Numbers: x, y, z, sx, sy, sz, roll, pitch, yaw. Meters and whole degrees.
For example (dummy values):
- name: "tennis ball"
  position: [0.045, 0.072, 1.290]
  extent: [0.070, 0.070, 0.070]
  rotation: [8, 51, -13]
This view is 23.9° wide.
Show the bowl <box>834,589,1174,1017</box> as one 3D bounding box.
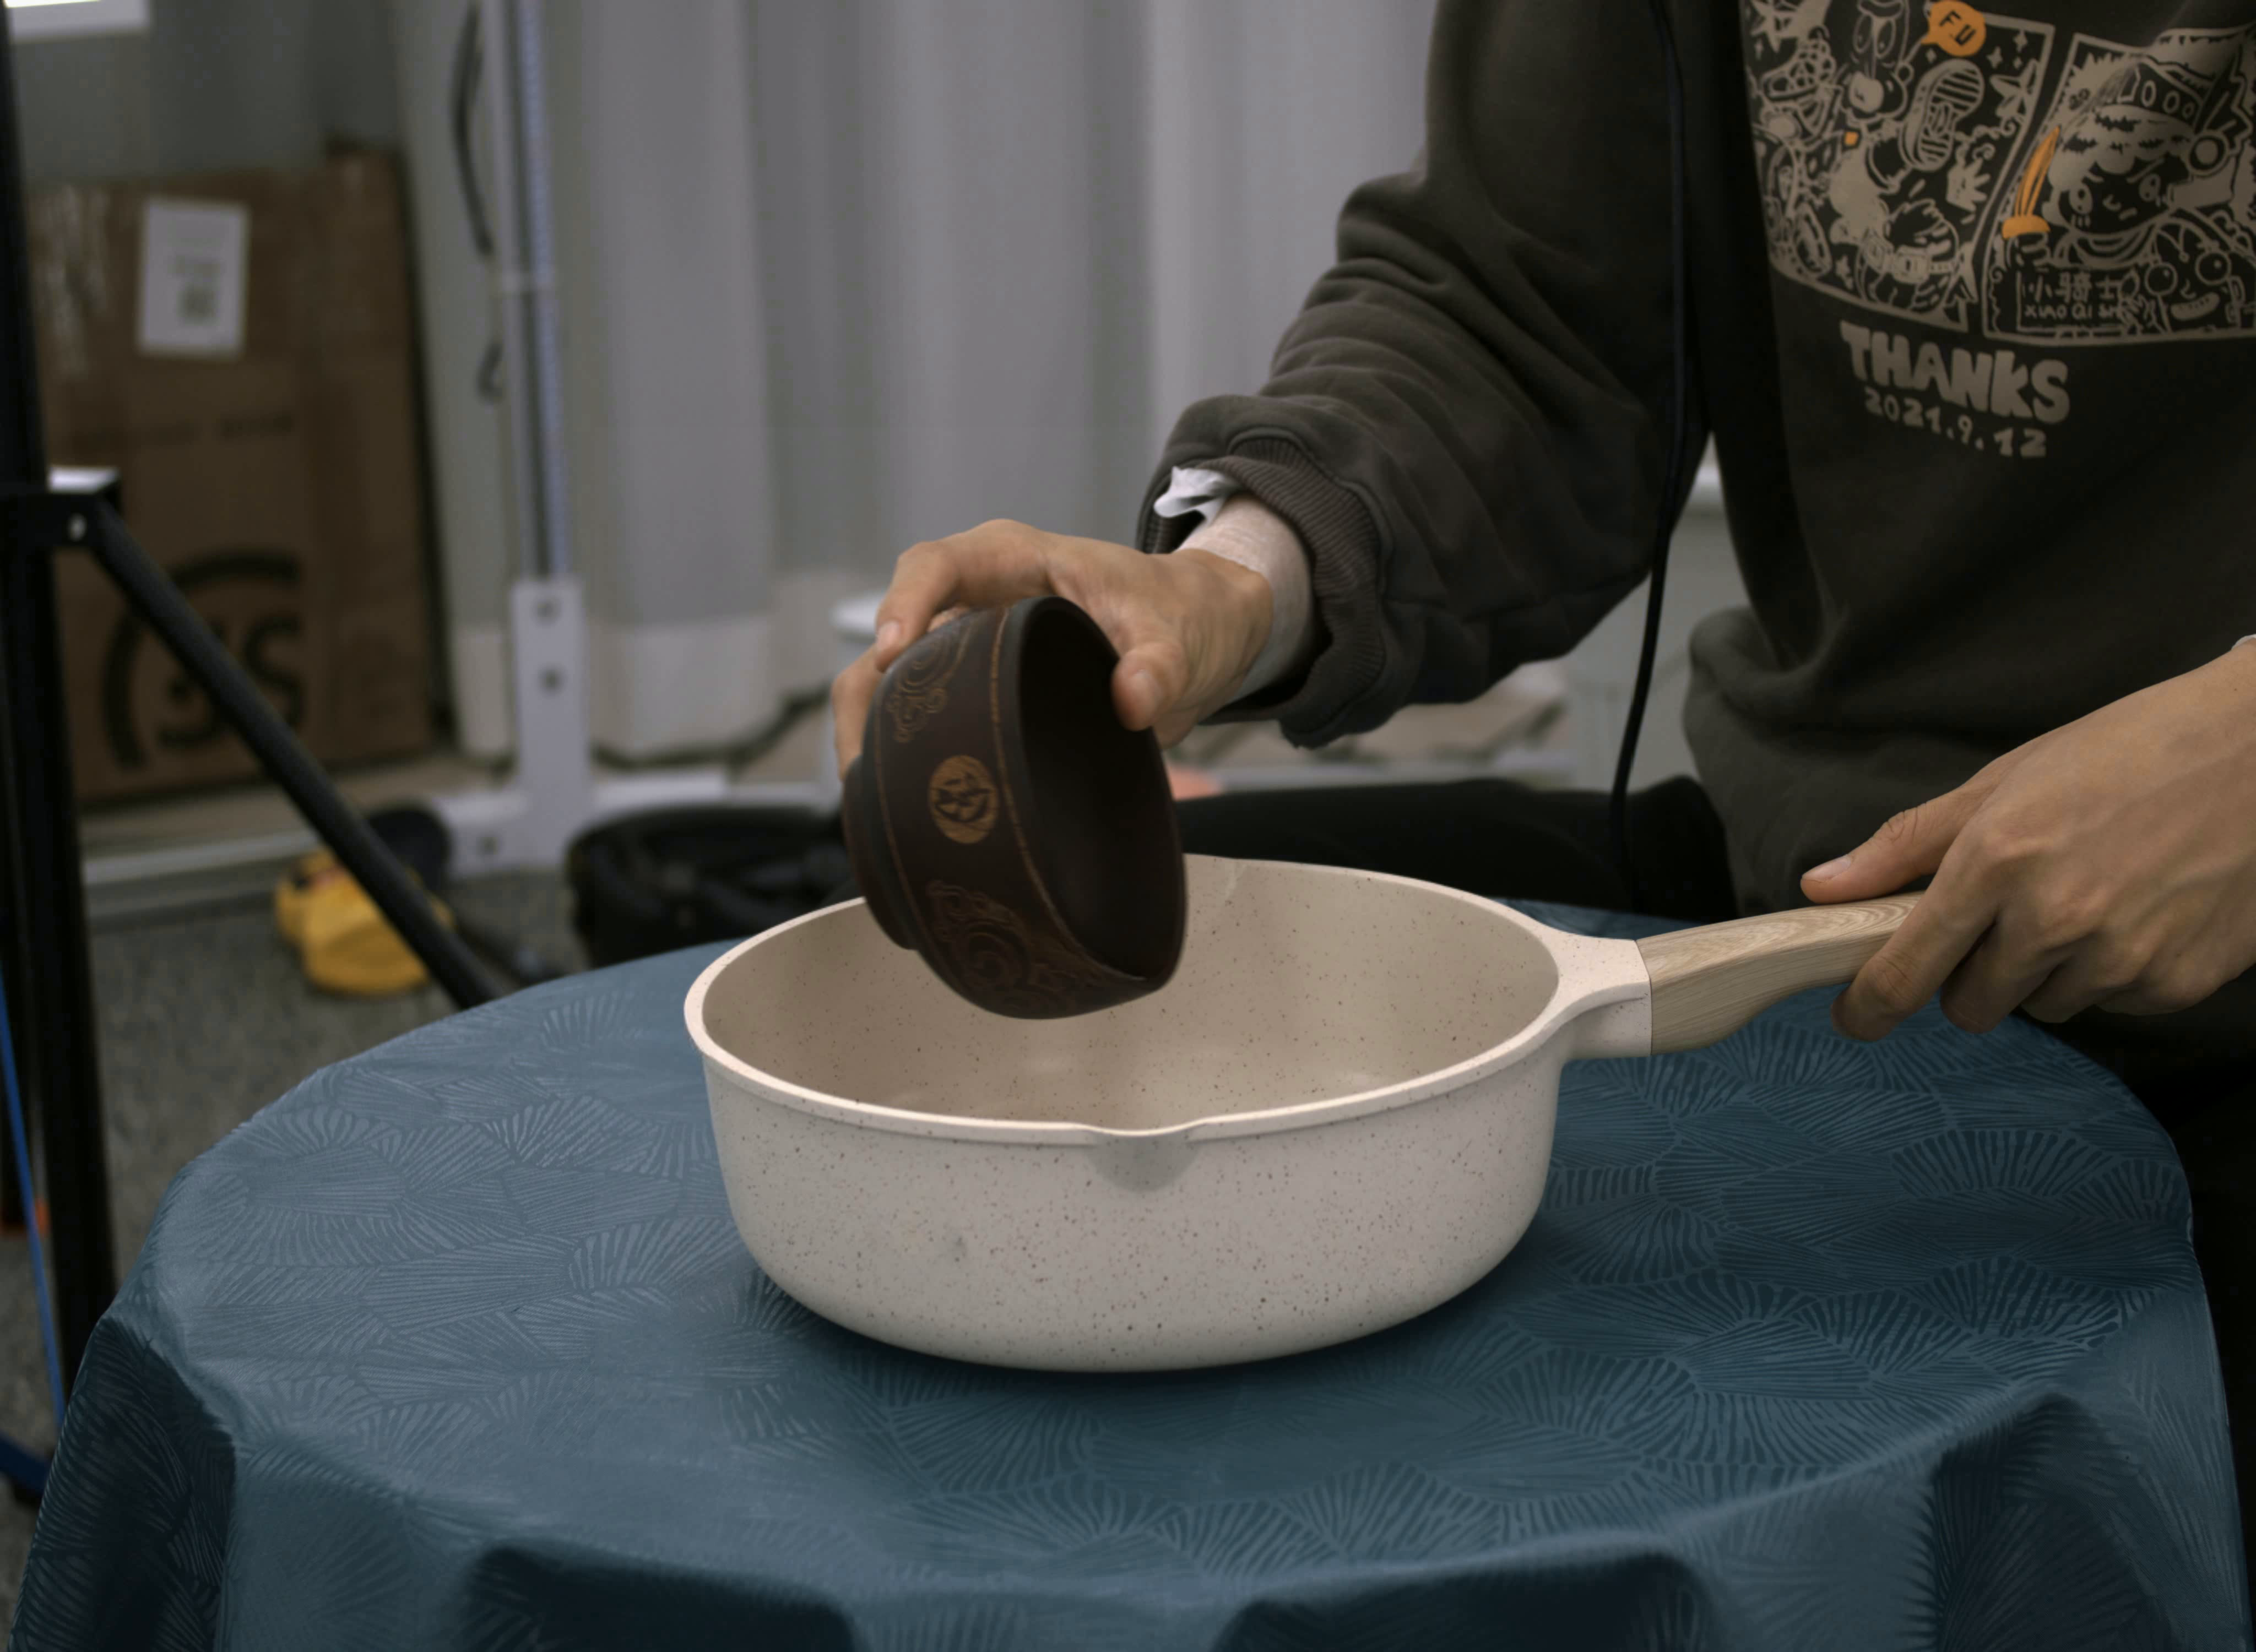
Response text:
- name: "bowl"
  position: [-0.040, -0.002, 1.496]
  extent: [0.070, 0.118, 0.117]
  rotation: [-15, 11, 18]

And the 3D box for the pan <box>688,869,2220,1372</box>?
- name: "pan"
  position: [0.094, 0.073, 1.492]
  extent: [0.433, 0.102, 0.264]
  rotation: [-2, 14, 0]
